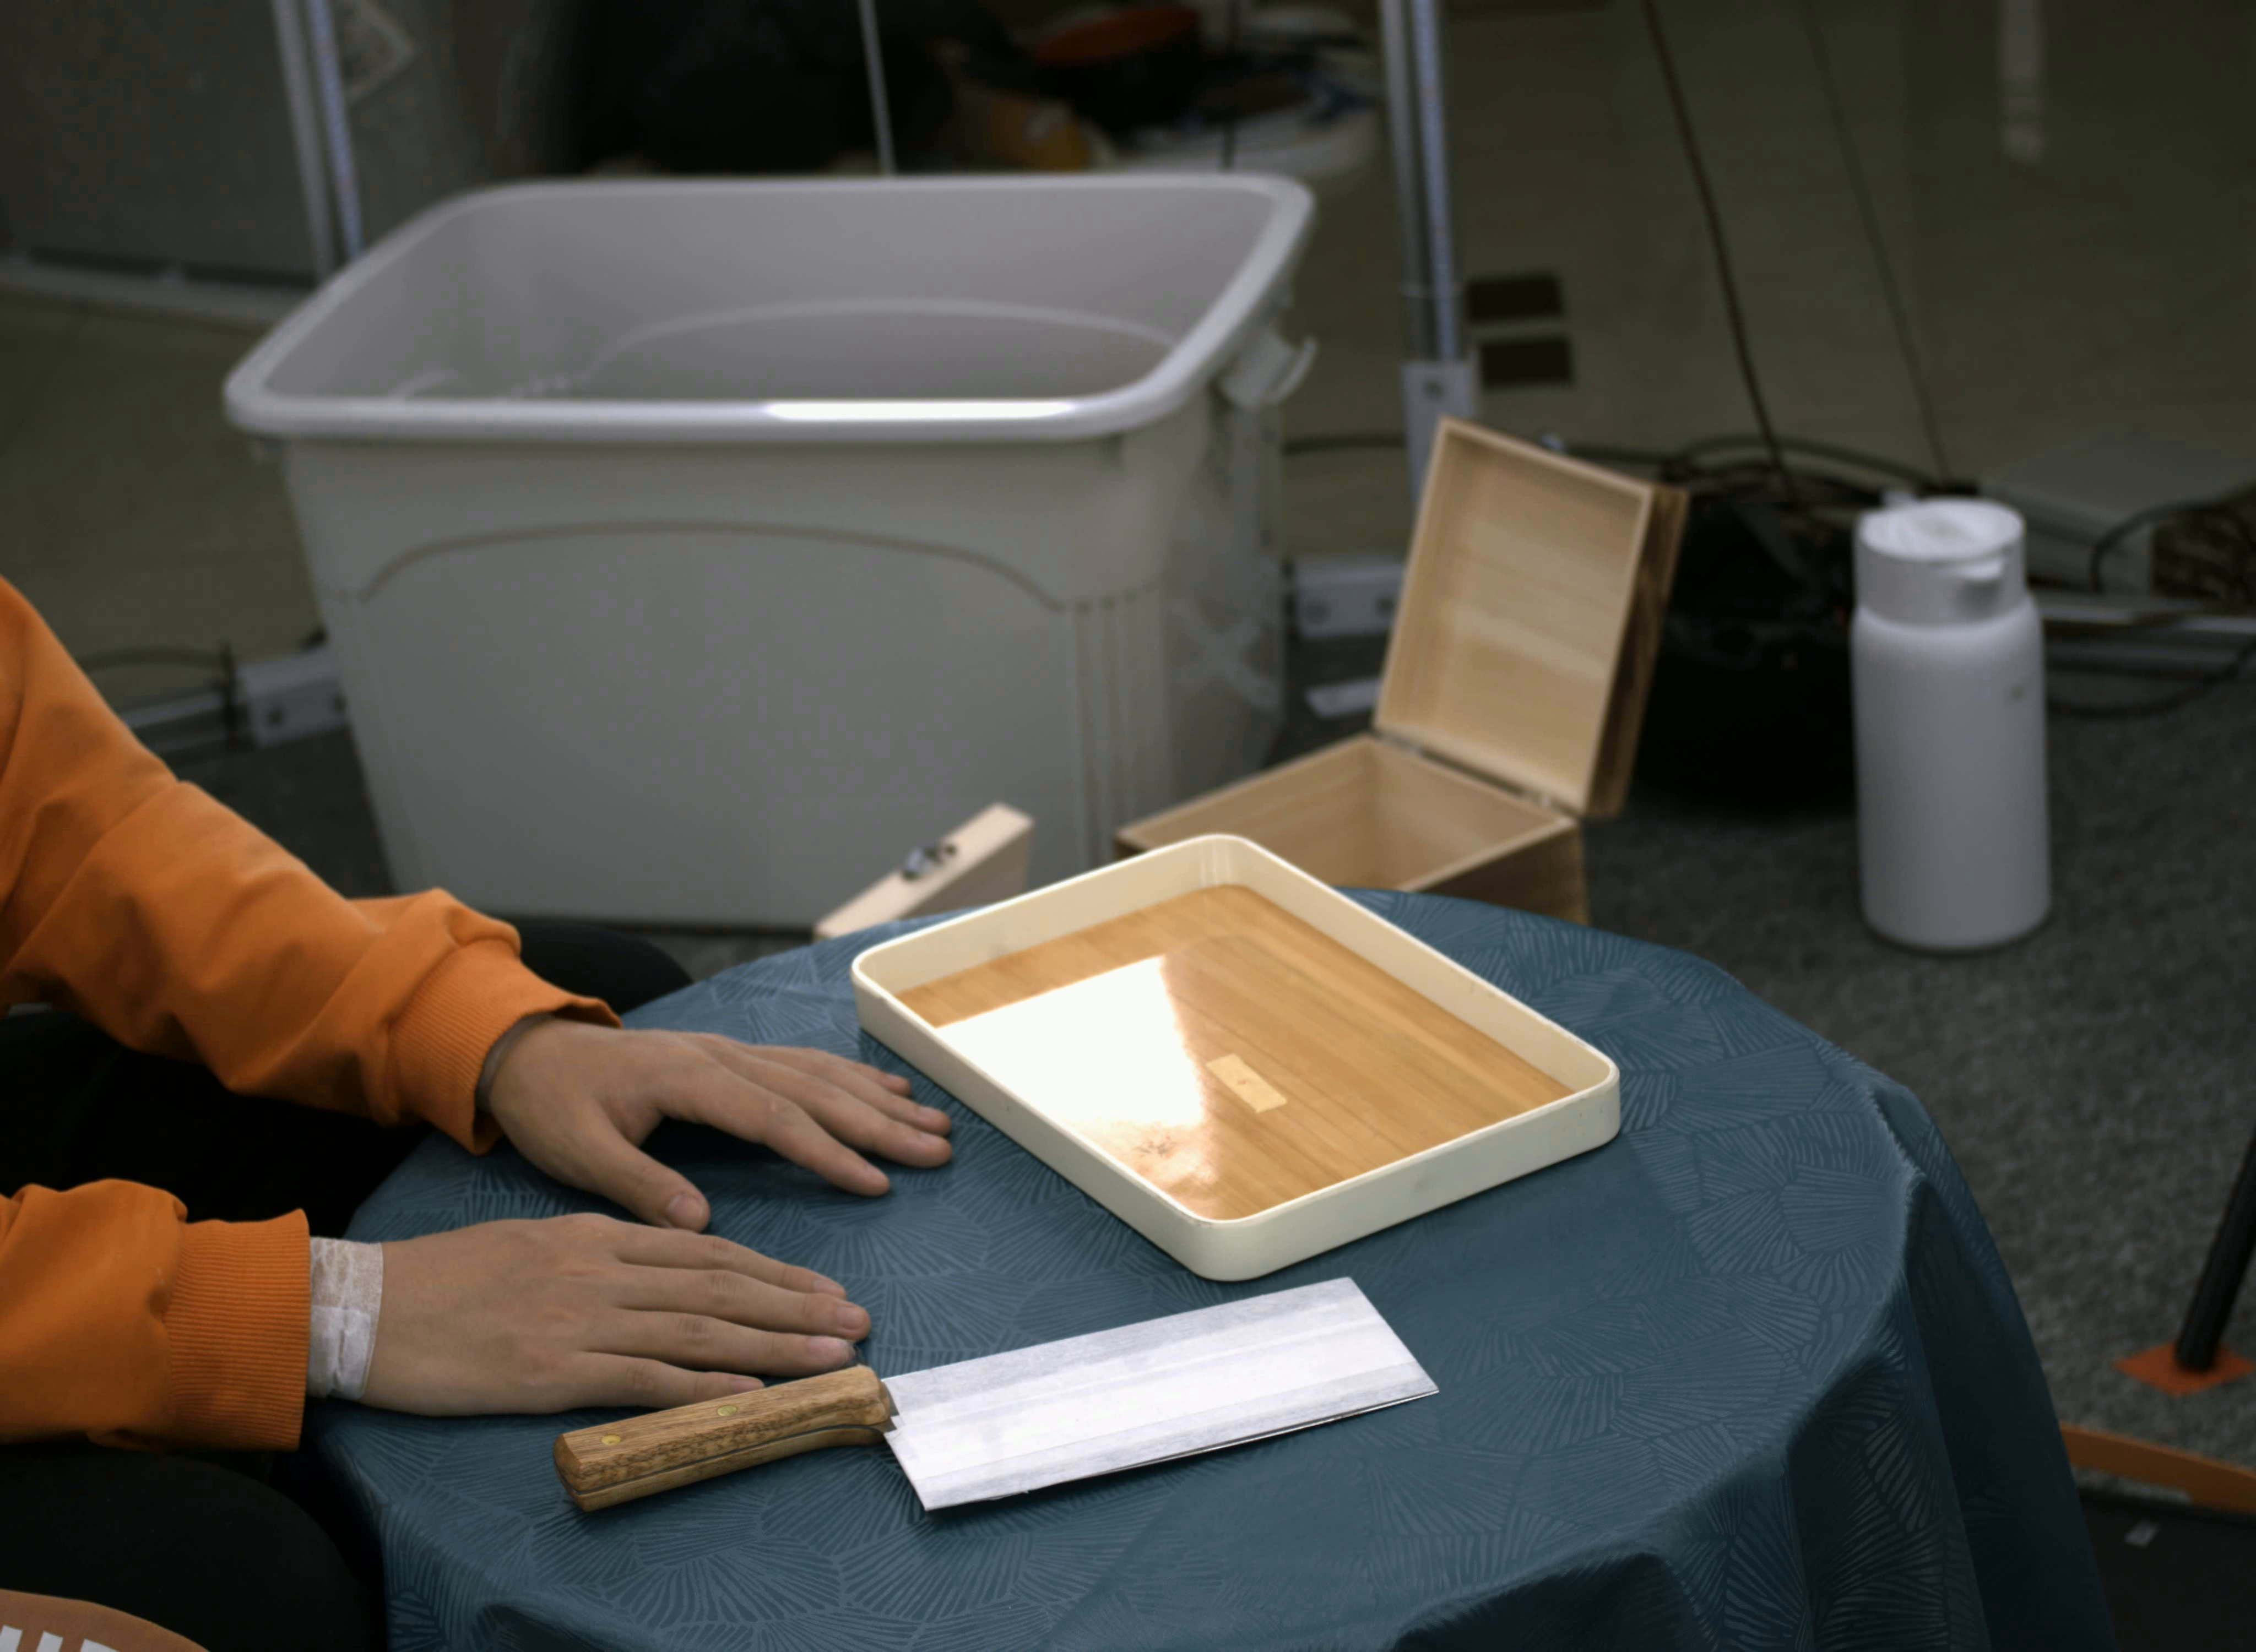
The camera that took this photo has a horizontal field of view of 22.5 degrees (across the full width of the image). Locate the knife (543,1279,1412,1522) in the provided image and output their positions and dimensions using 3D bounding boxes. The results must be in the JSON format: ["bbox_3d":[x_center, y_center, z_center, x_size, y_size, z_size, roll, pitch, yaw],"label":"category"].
[{"bbox_3d":[-0.049,0.209,1.991,0.305,0.021,0.091,-11,27,-15],"label":"knife"}]

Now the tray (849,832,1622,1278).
[{"bbox_3d":[0.038,0.085,2.220,0.190,0.028,0.297,-19,28,-25],"label":"tray"}]
